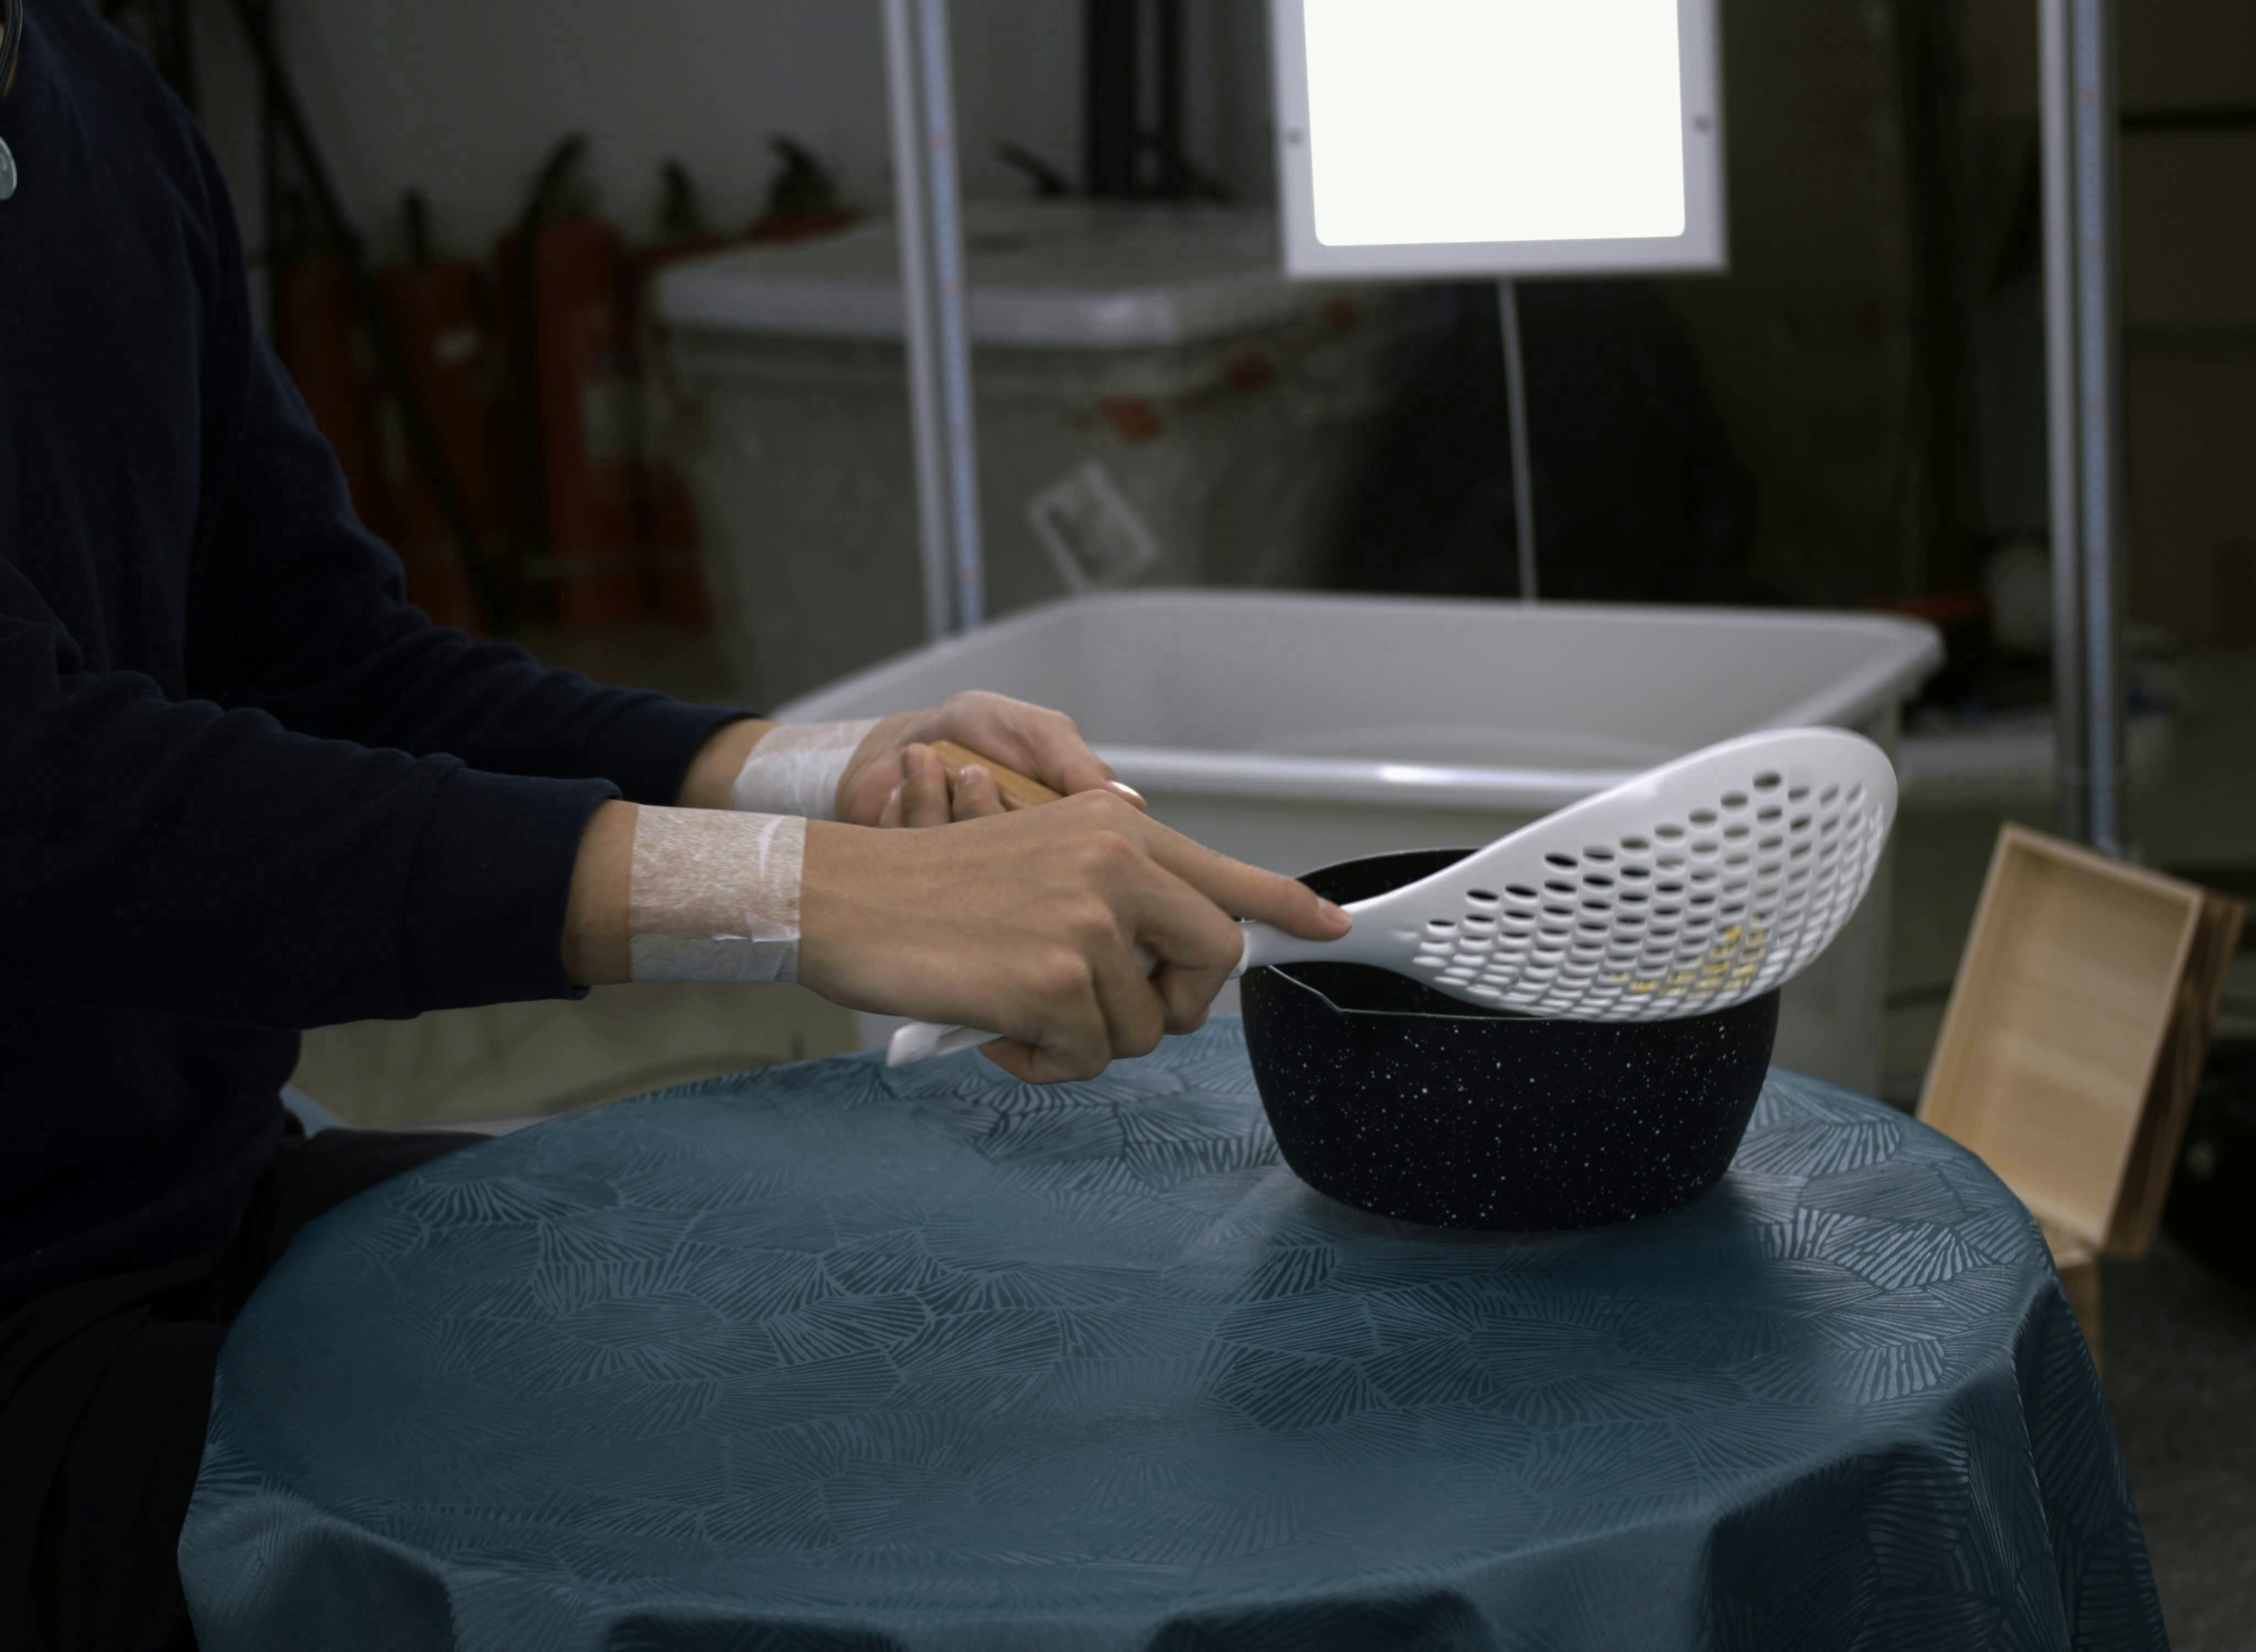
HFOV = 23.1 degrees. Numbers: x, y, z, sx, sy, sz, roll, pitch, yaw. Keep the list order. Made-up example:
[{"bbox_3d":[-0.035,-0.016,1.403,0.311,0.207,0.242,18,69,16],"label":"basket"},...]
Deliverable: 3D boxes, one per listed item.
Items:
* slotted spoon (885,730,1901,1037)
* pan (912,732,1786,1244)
[{"bbox_3d":[0.084,0.035,1.679,0.342,0.138,0.050,-3,54,-18],"label":"slotted spoon"},{"bbox_3d":[0.064,0.049,1.904,0.349,0.109,0.202,13,23,33],"label":"pan"}]
